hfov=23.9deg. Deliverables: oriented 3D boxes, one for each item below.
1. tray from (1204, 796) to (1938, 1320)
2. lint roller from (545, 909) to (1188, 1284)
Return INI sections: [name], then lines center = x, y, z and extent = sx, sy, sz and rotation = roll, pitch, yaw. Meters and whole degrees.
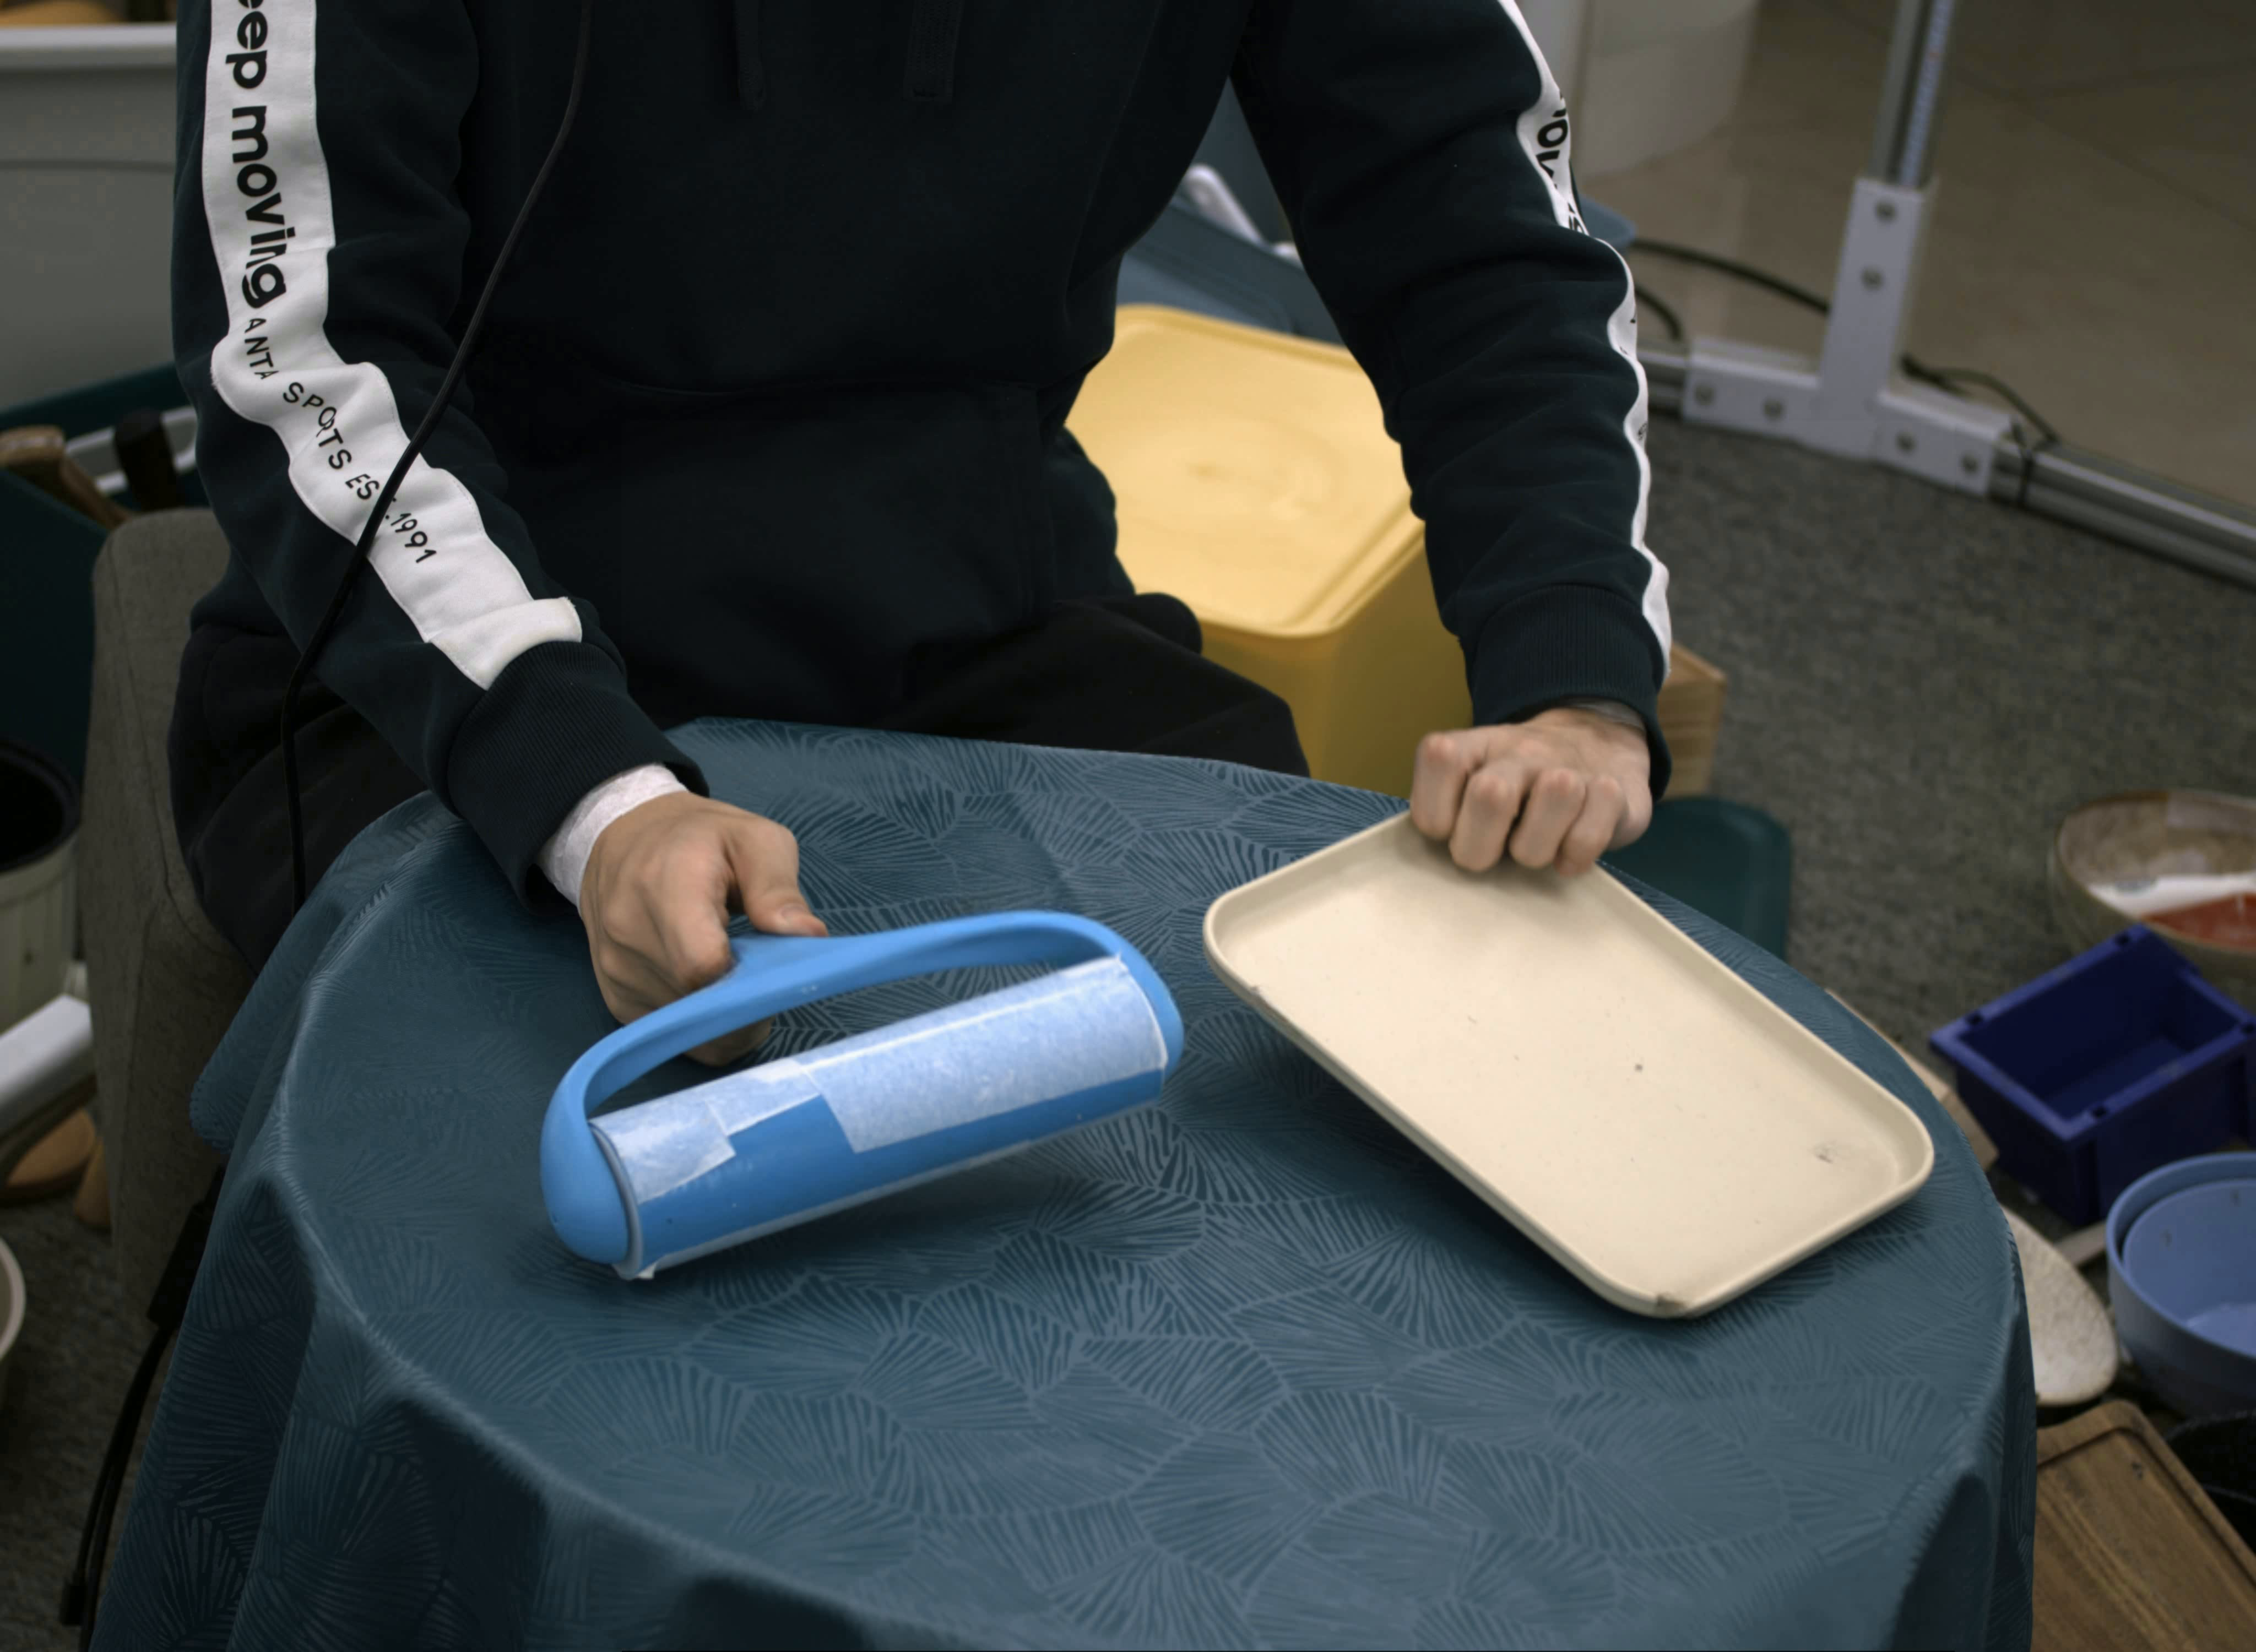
[tray]
center = 0.152, 0.079, 1.850
extent = 0.170, 0.017, 0.241
rotation = -22, 50, -41
[lint roller]
center = -0.113, 0.071, 1.791
extent = 0.228, 0.067, 0.182
rotation = -20, 32, -24
